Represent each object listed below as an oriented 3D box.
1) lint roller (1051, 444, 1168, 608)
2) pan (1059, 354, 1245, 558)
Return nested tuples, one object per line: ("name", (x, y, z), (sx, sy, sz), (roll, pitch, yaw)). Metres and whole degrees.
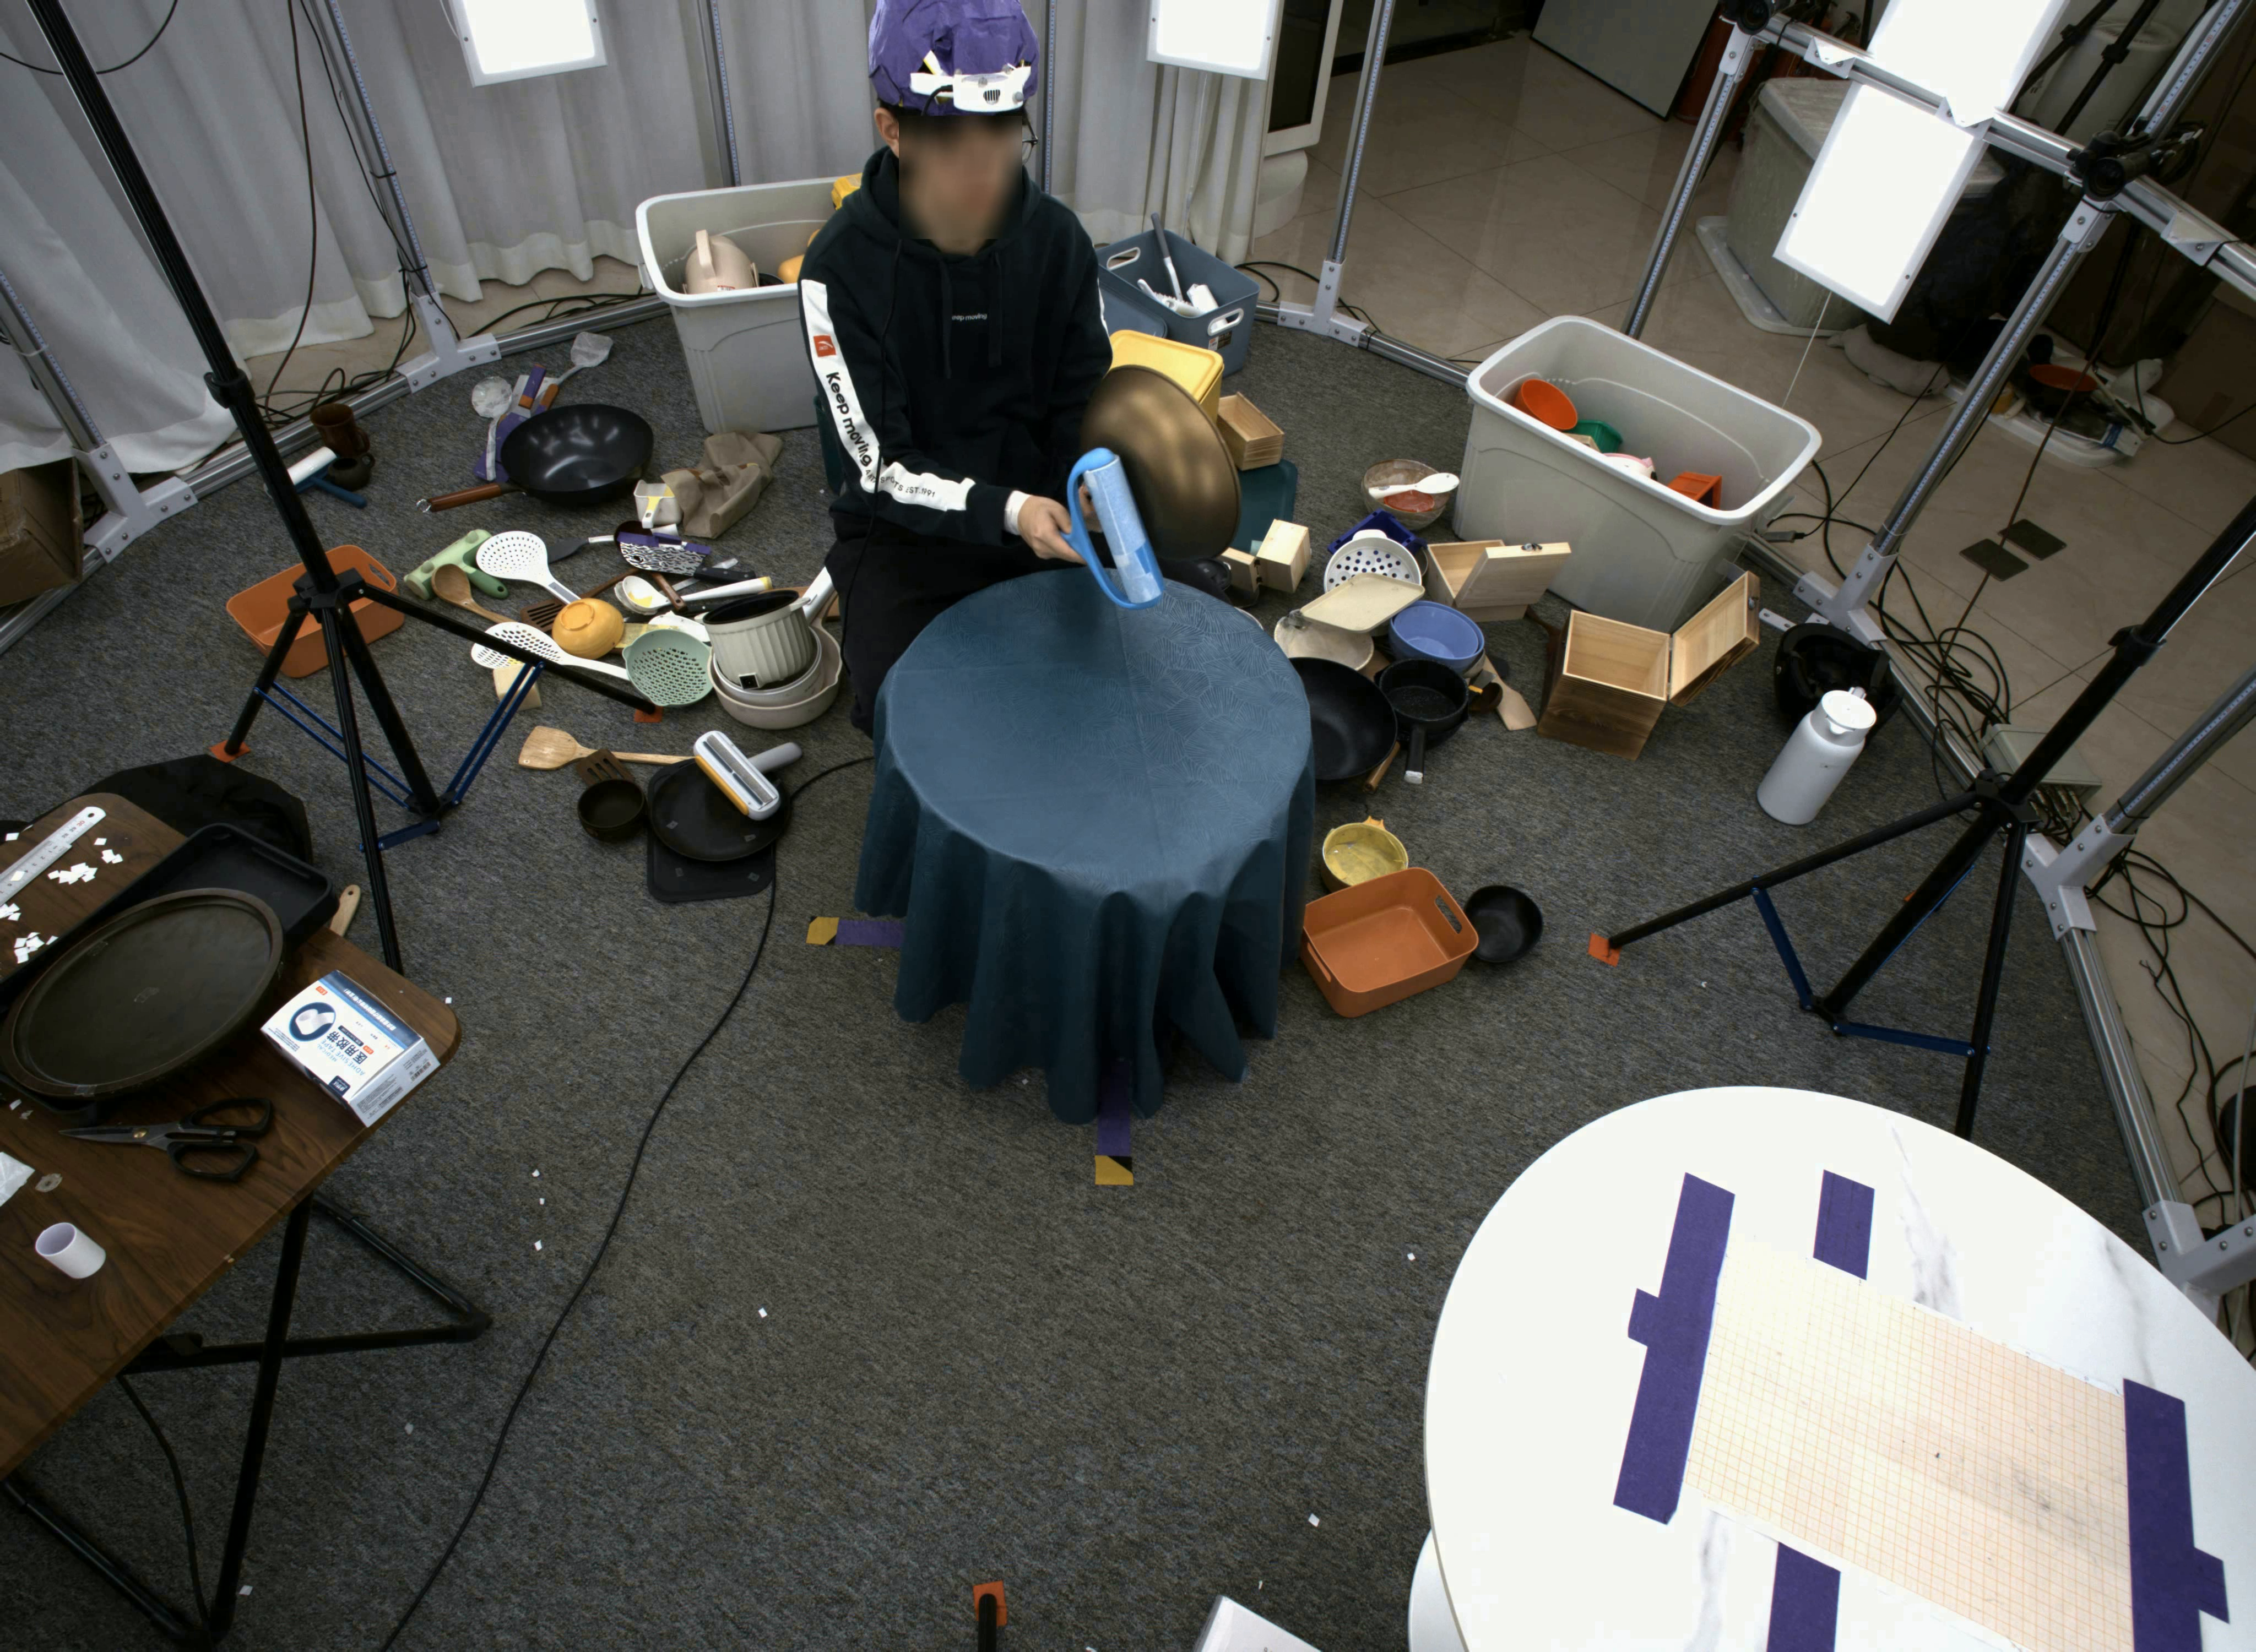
("lint roller", (-0.049, -0.396, 1.746), (0.181, 0.224, 0.069), (1, 37, 42))
("pan", (-0.020, -0.466, 1.801), (0.087, 0.463, 0.285), (-38, 104, -27))
